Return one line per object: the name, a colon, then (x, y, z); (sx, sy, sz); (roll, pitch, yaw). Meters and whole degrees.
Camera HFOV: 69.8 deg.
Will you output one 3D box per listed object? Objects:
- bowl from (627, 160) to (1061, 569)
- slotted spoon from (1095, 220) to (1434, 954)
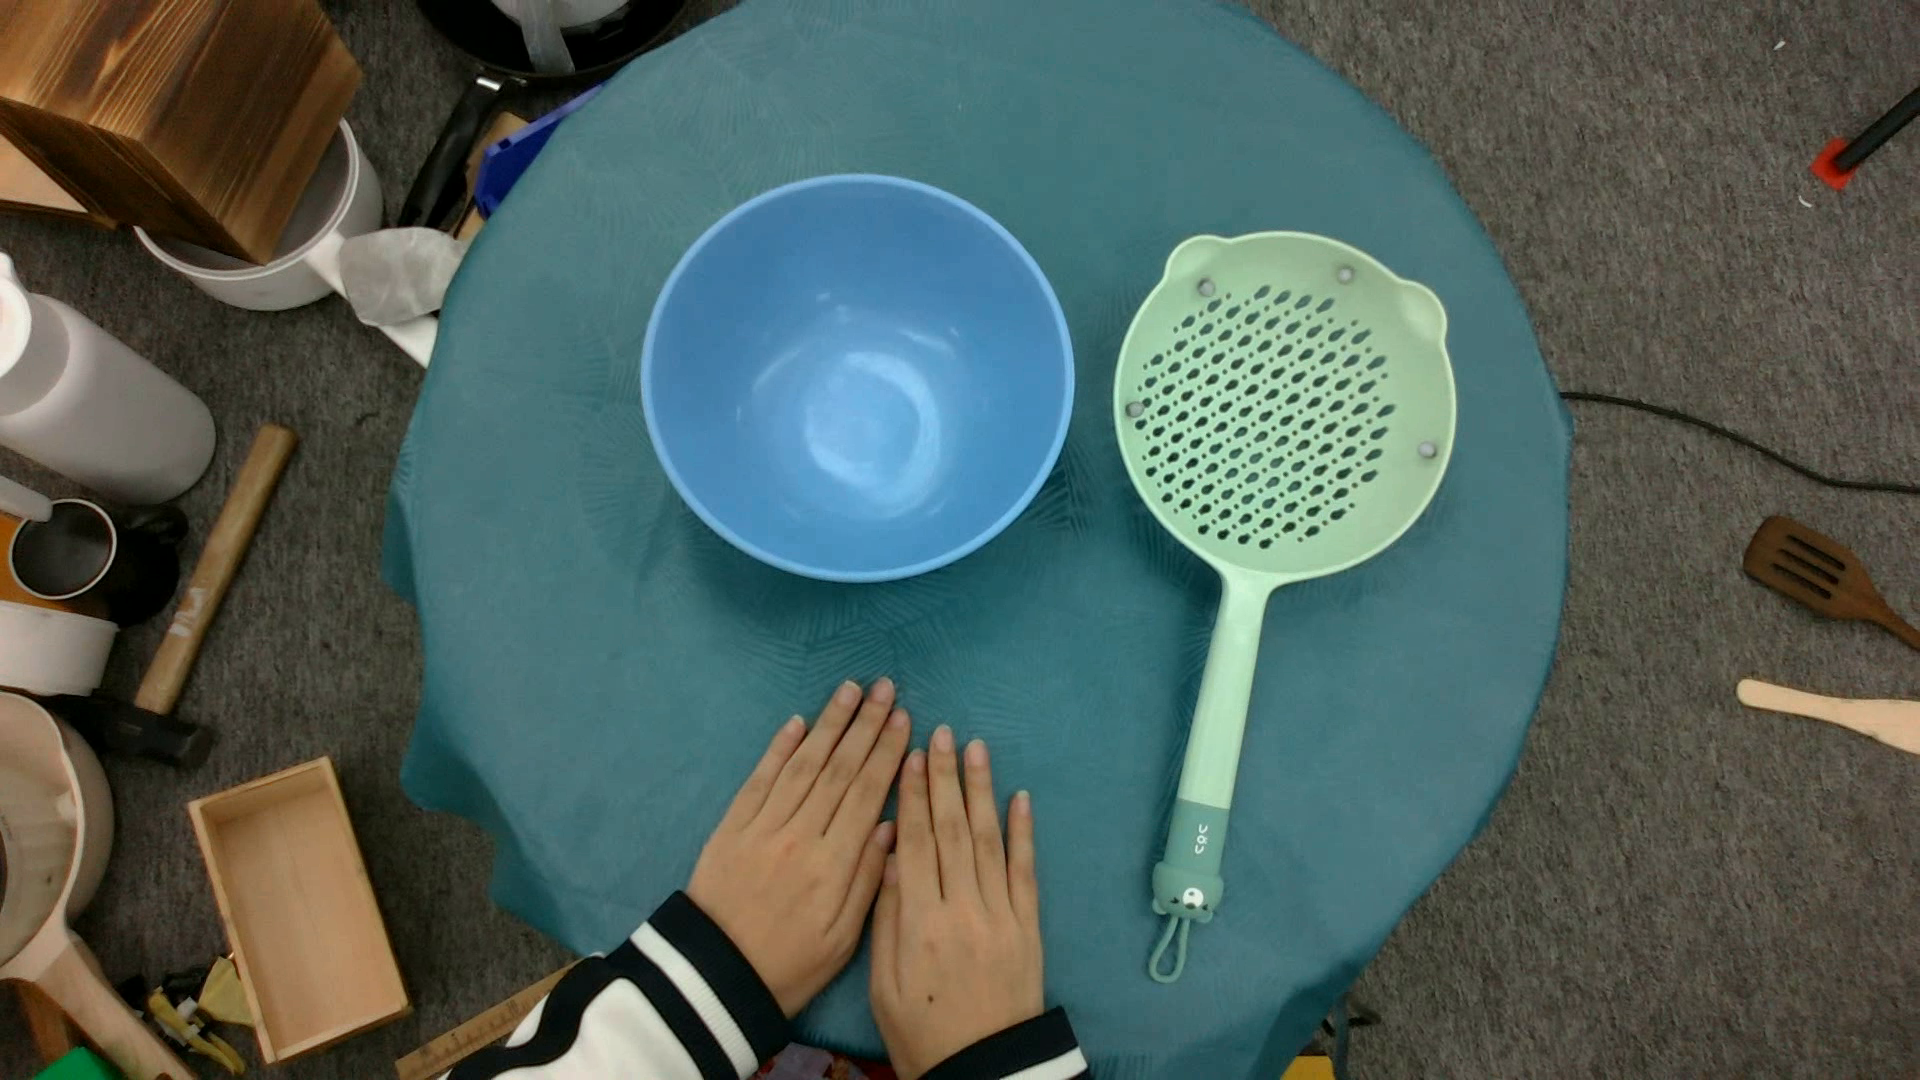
bowl: (-0.054, -0.073, 0.668); (0.196, 0.095, 0.197); (1, 76, -4)
slotted spoon: (0.128, 0.022, 0.674); (0.169, 0.075, 0.359); (12, 77, -2)
